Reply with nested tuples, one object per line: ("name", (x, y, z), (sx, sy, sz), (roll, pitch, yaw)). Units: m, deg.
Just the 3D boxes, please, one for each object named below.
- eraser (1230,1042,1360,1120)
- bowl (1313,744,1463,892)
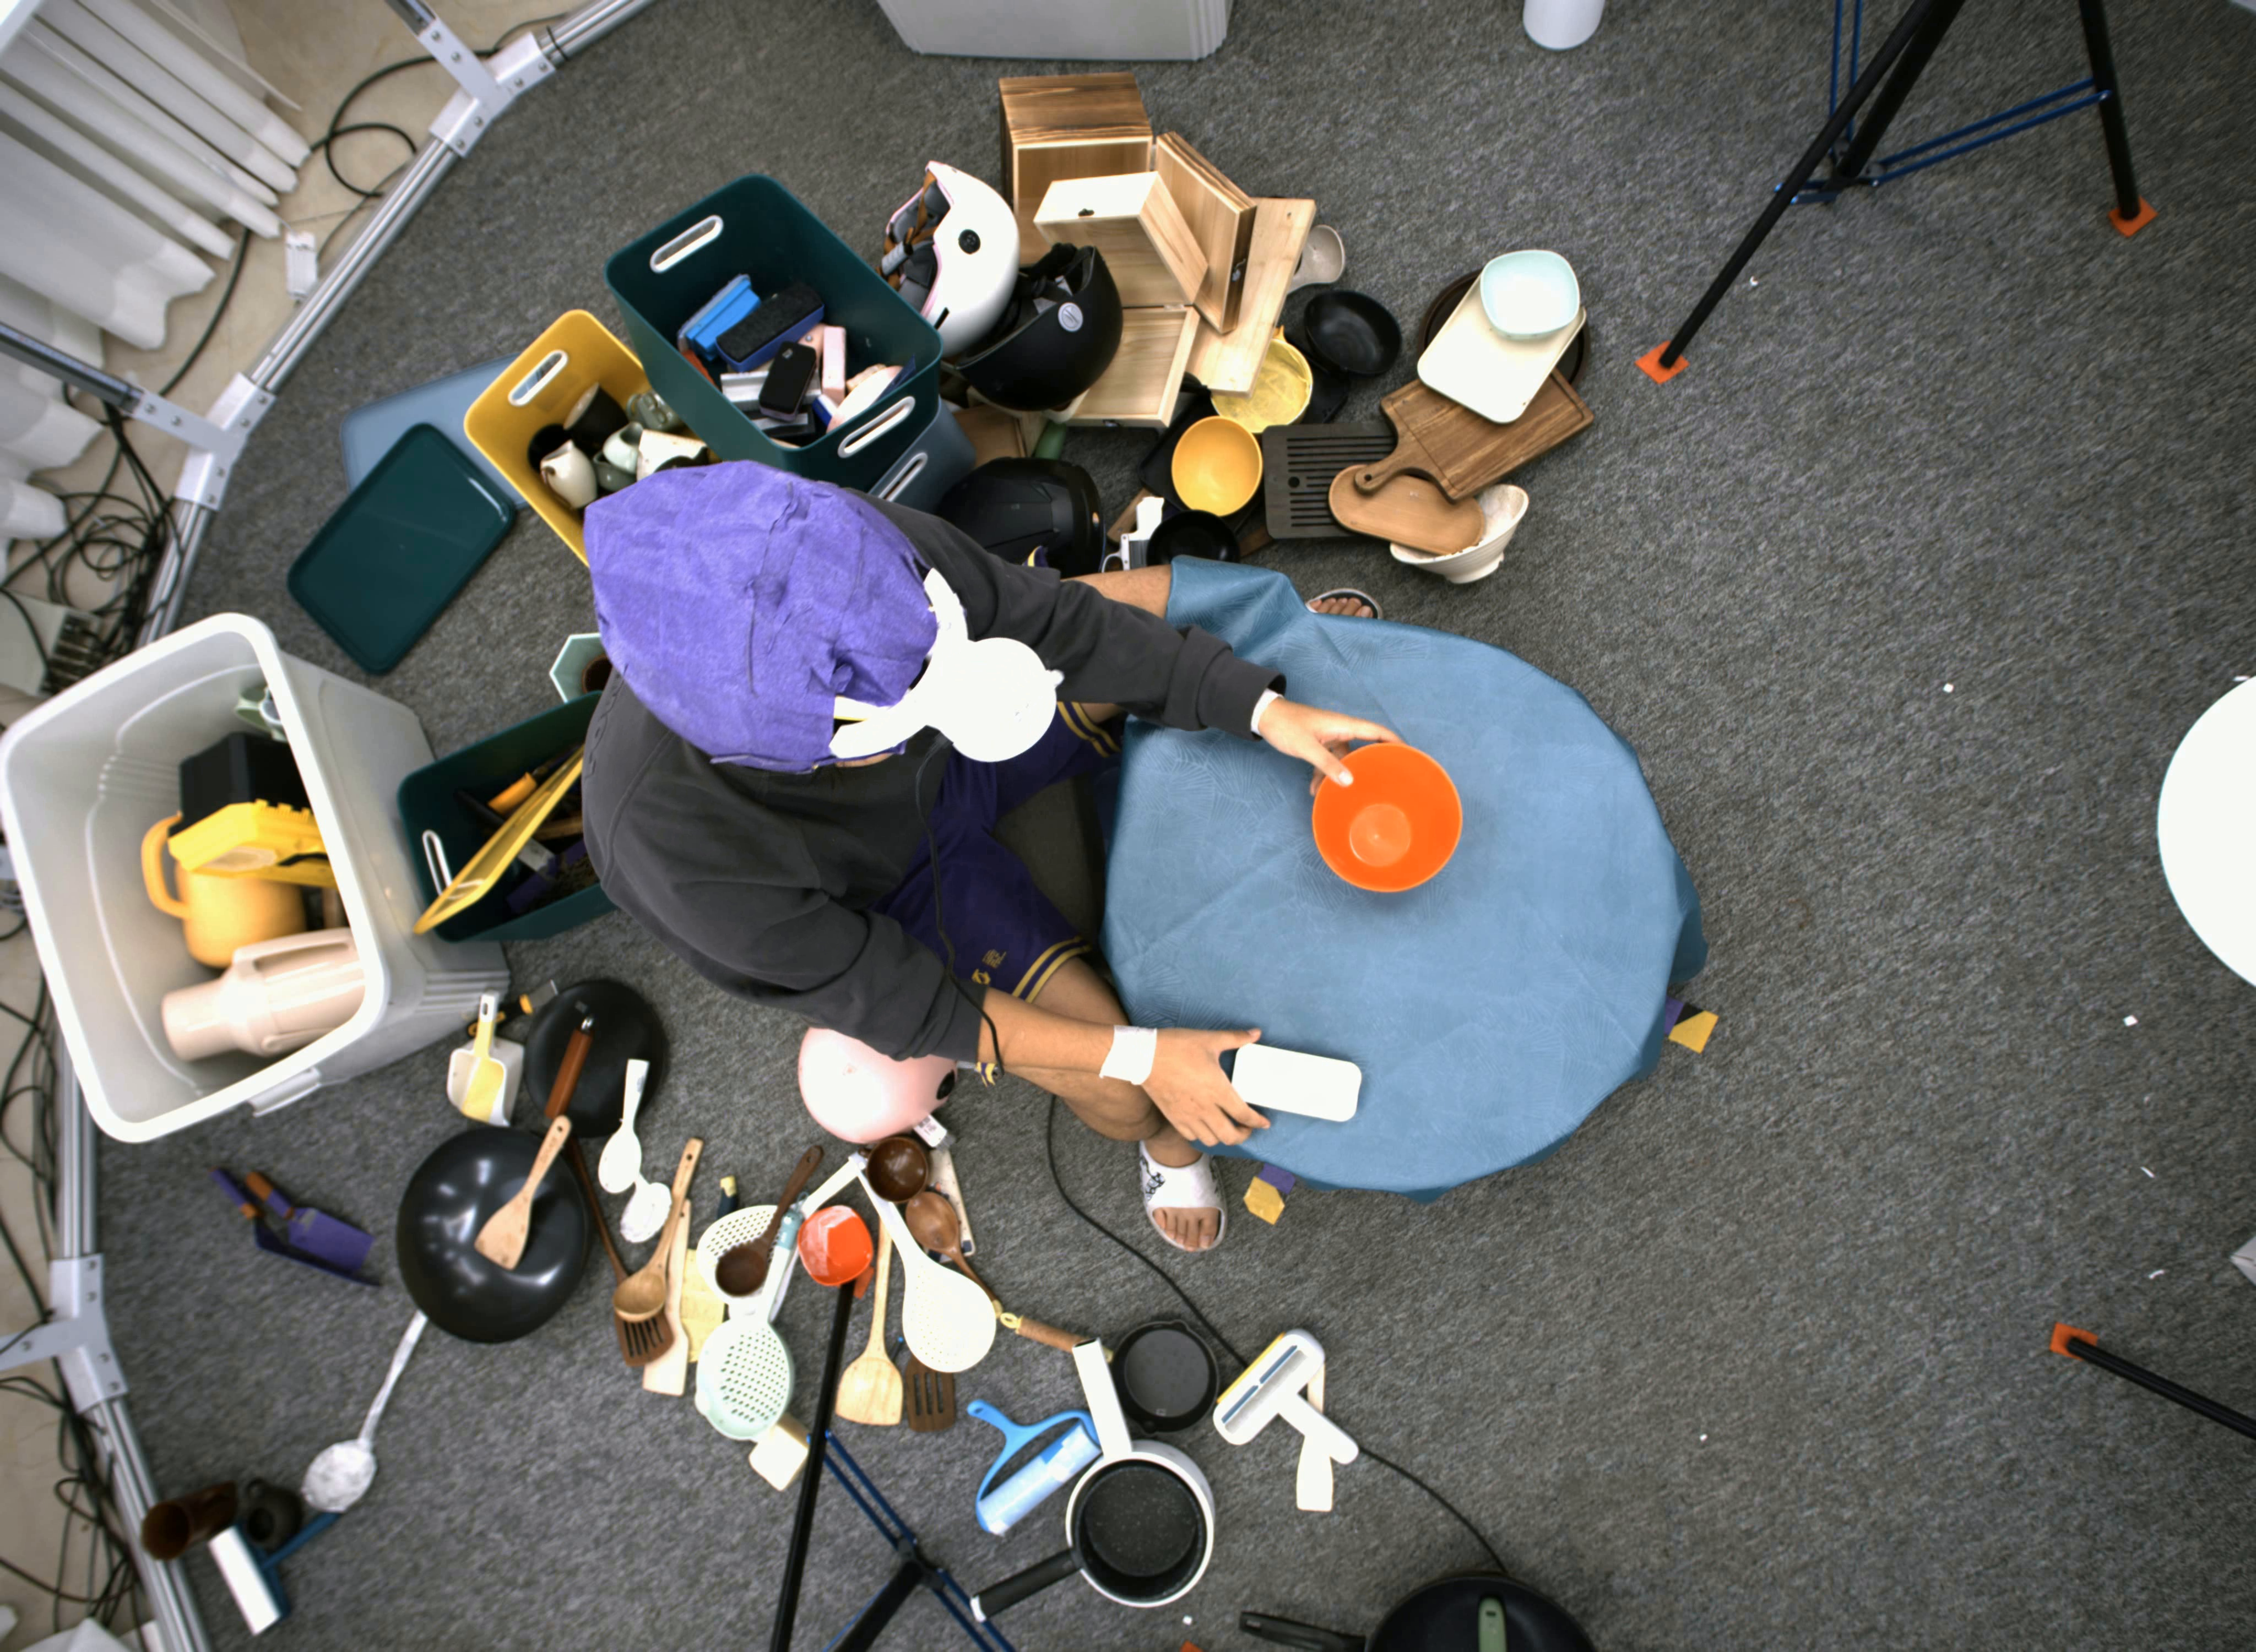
("eraser", (0.175, 0.263, 1.450), (0.131, 0.034, 0.063), (11, 87, 9))
("bowl", (0.265, -0.005, 1.414), (0.148, 0.104, 0.147), (-1, 87, 10))
